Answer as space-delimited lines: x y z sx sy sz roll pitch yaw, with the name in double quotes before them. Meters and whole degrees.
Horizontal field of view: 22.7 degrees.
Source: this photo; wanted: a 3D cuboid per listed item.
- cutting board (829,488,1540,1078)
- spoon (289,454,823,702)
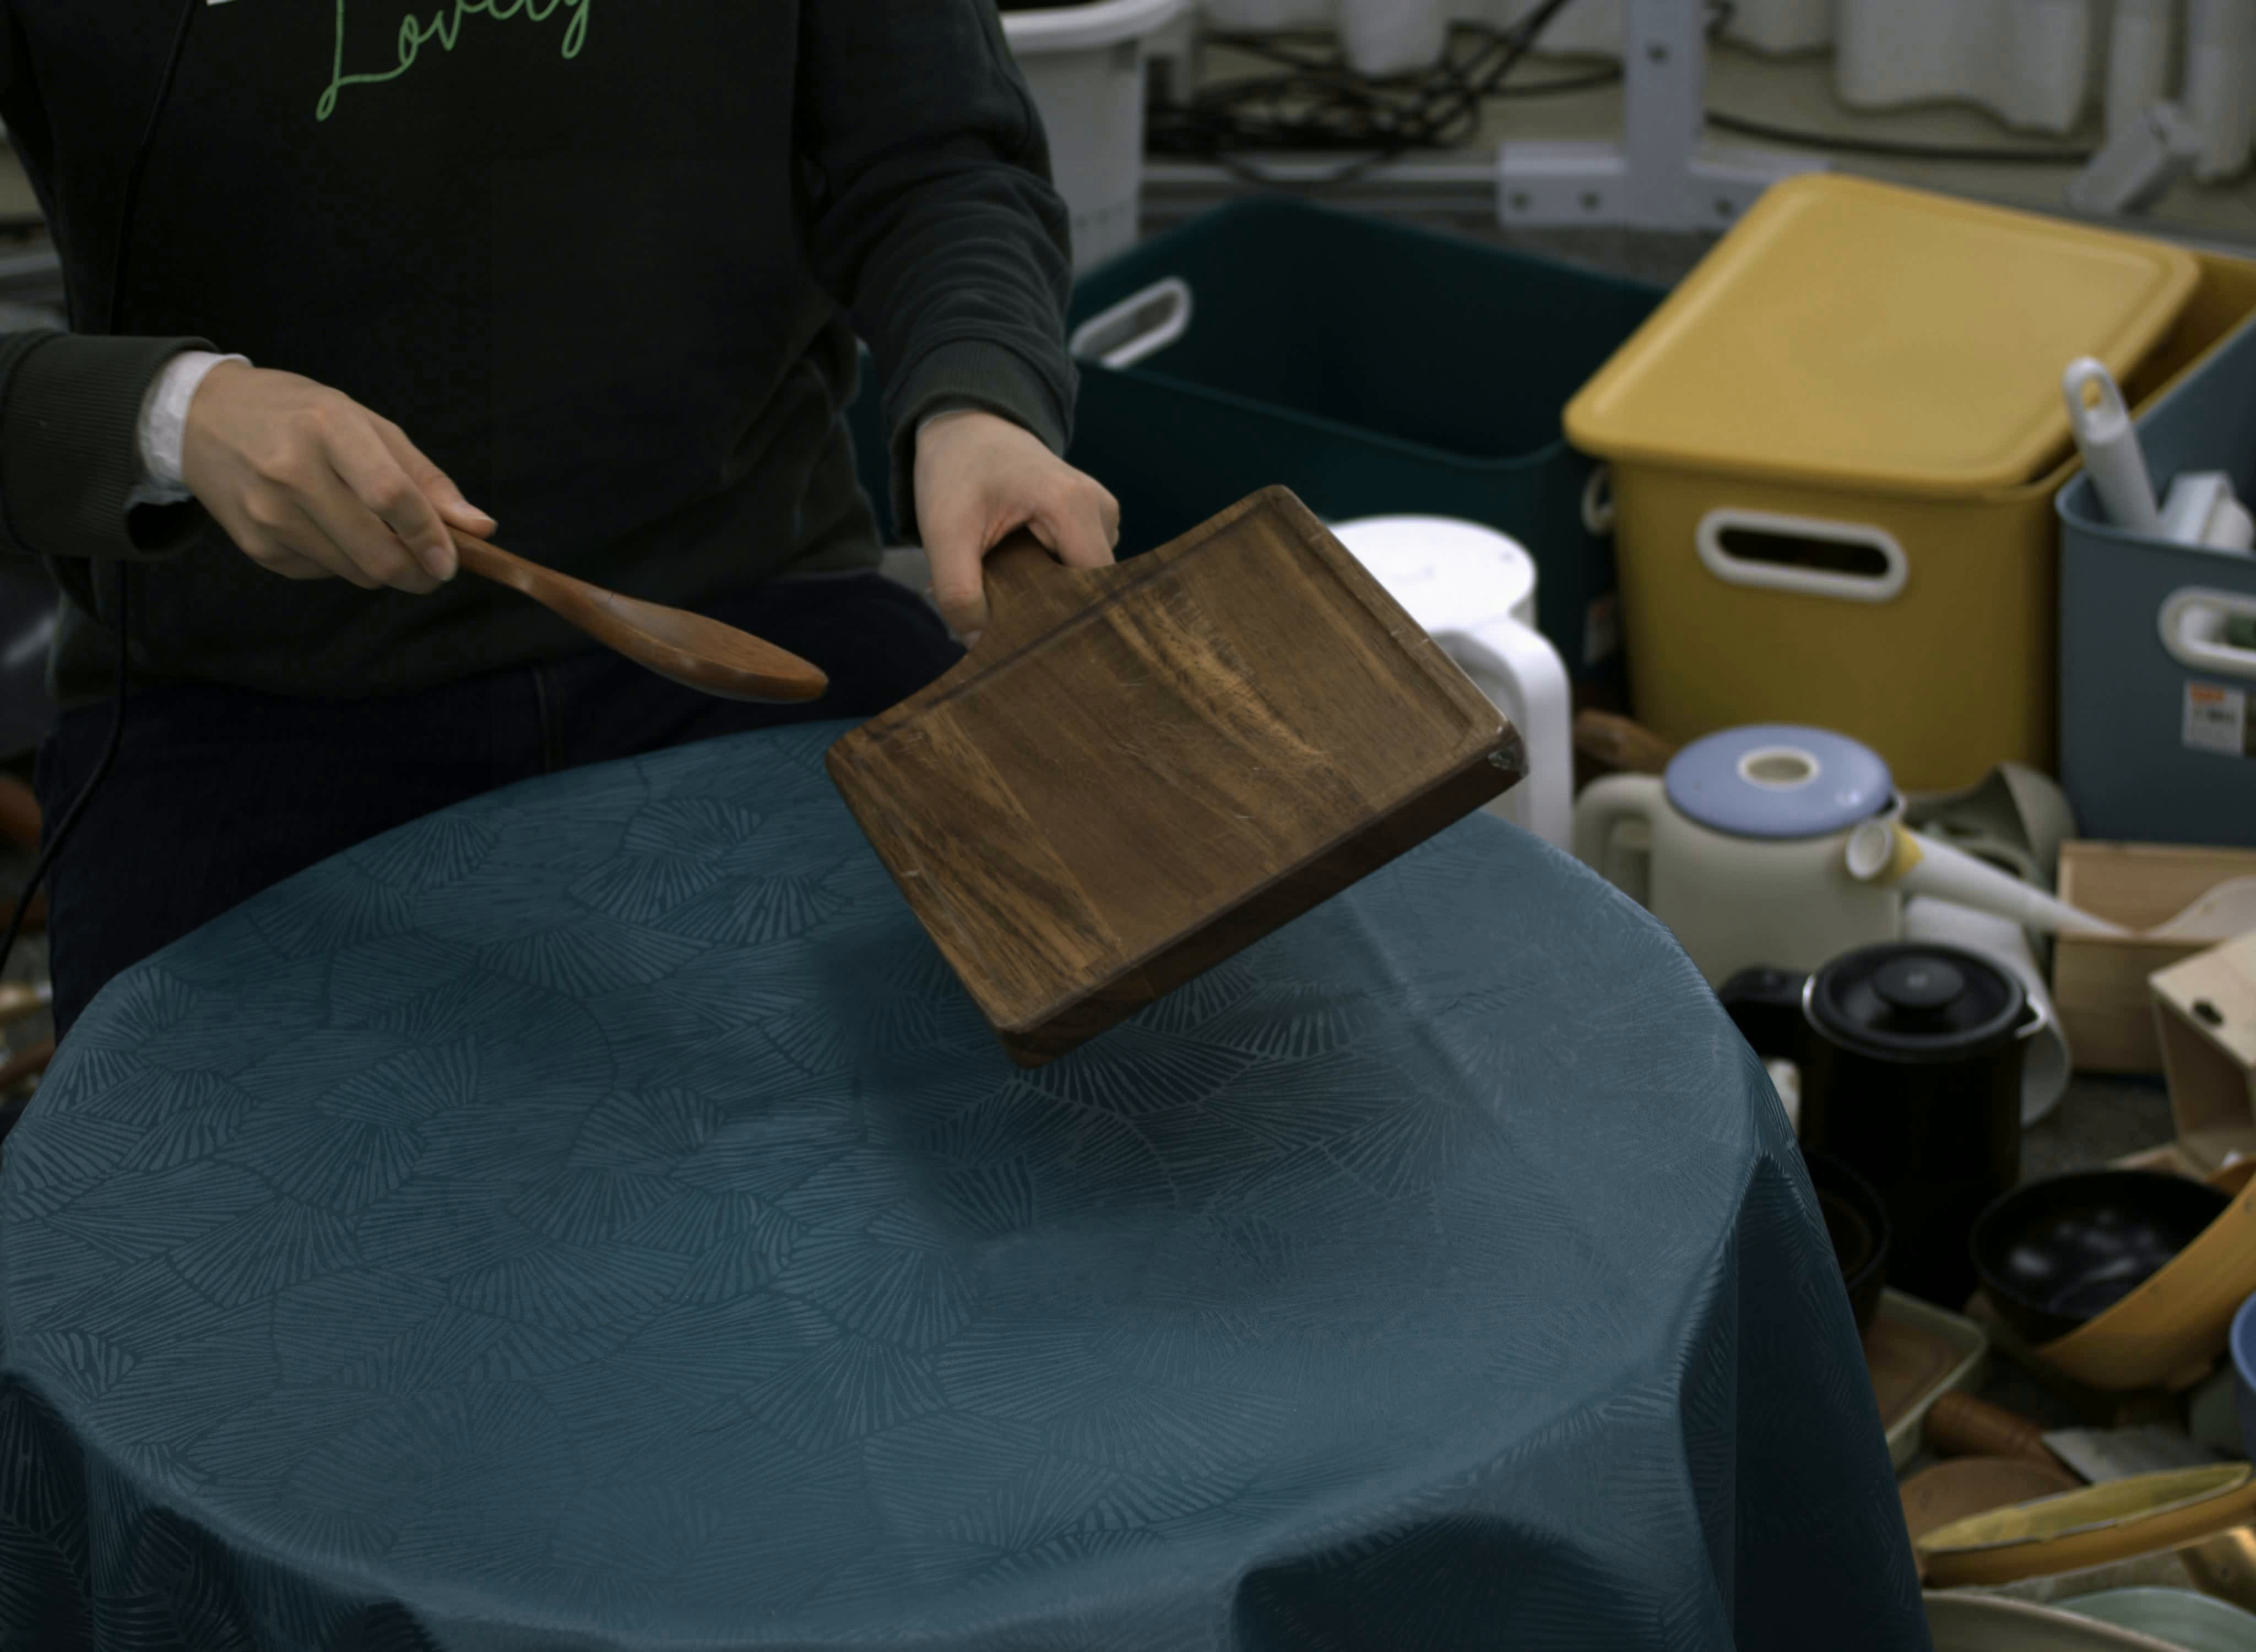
"cutting board" -0.001 -0.039 1.958 0.201 0.023 0.355 -31 27 -4
"spoon" -0.200 -0.082 1.934 0.215 0.017 0.076 24 15 22
